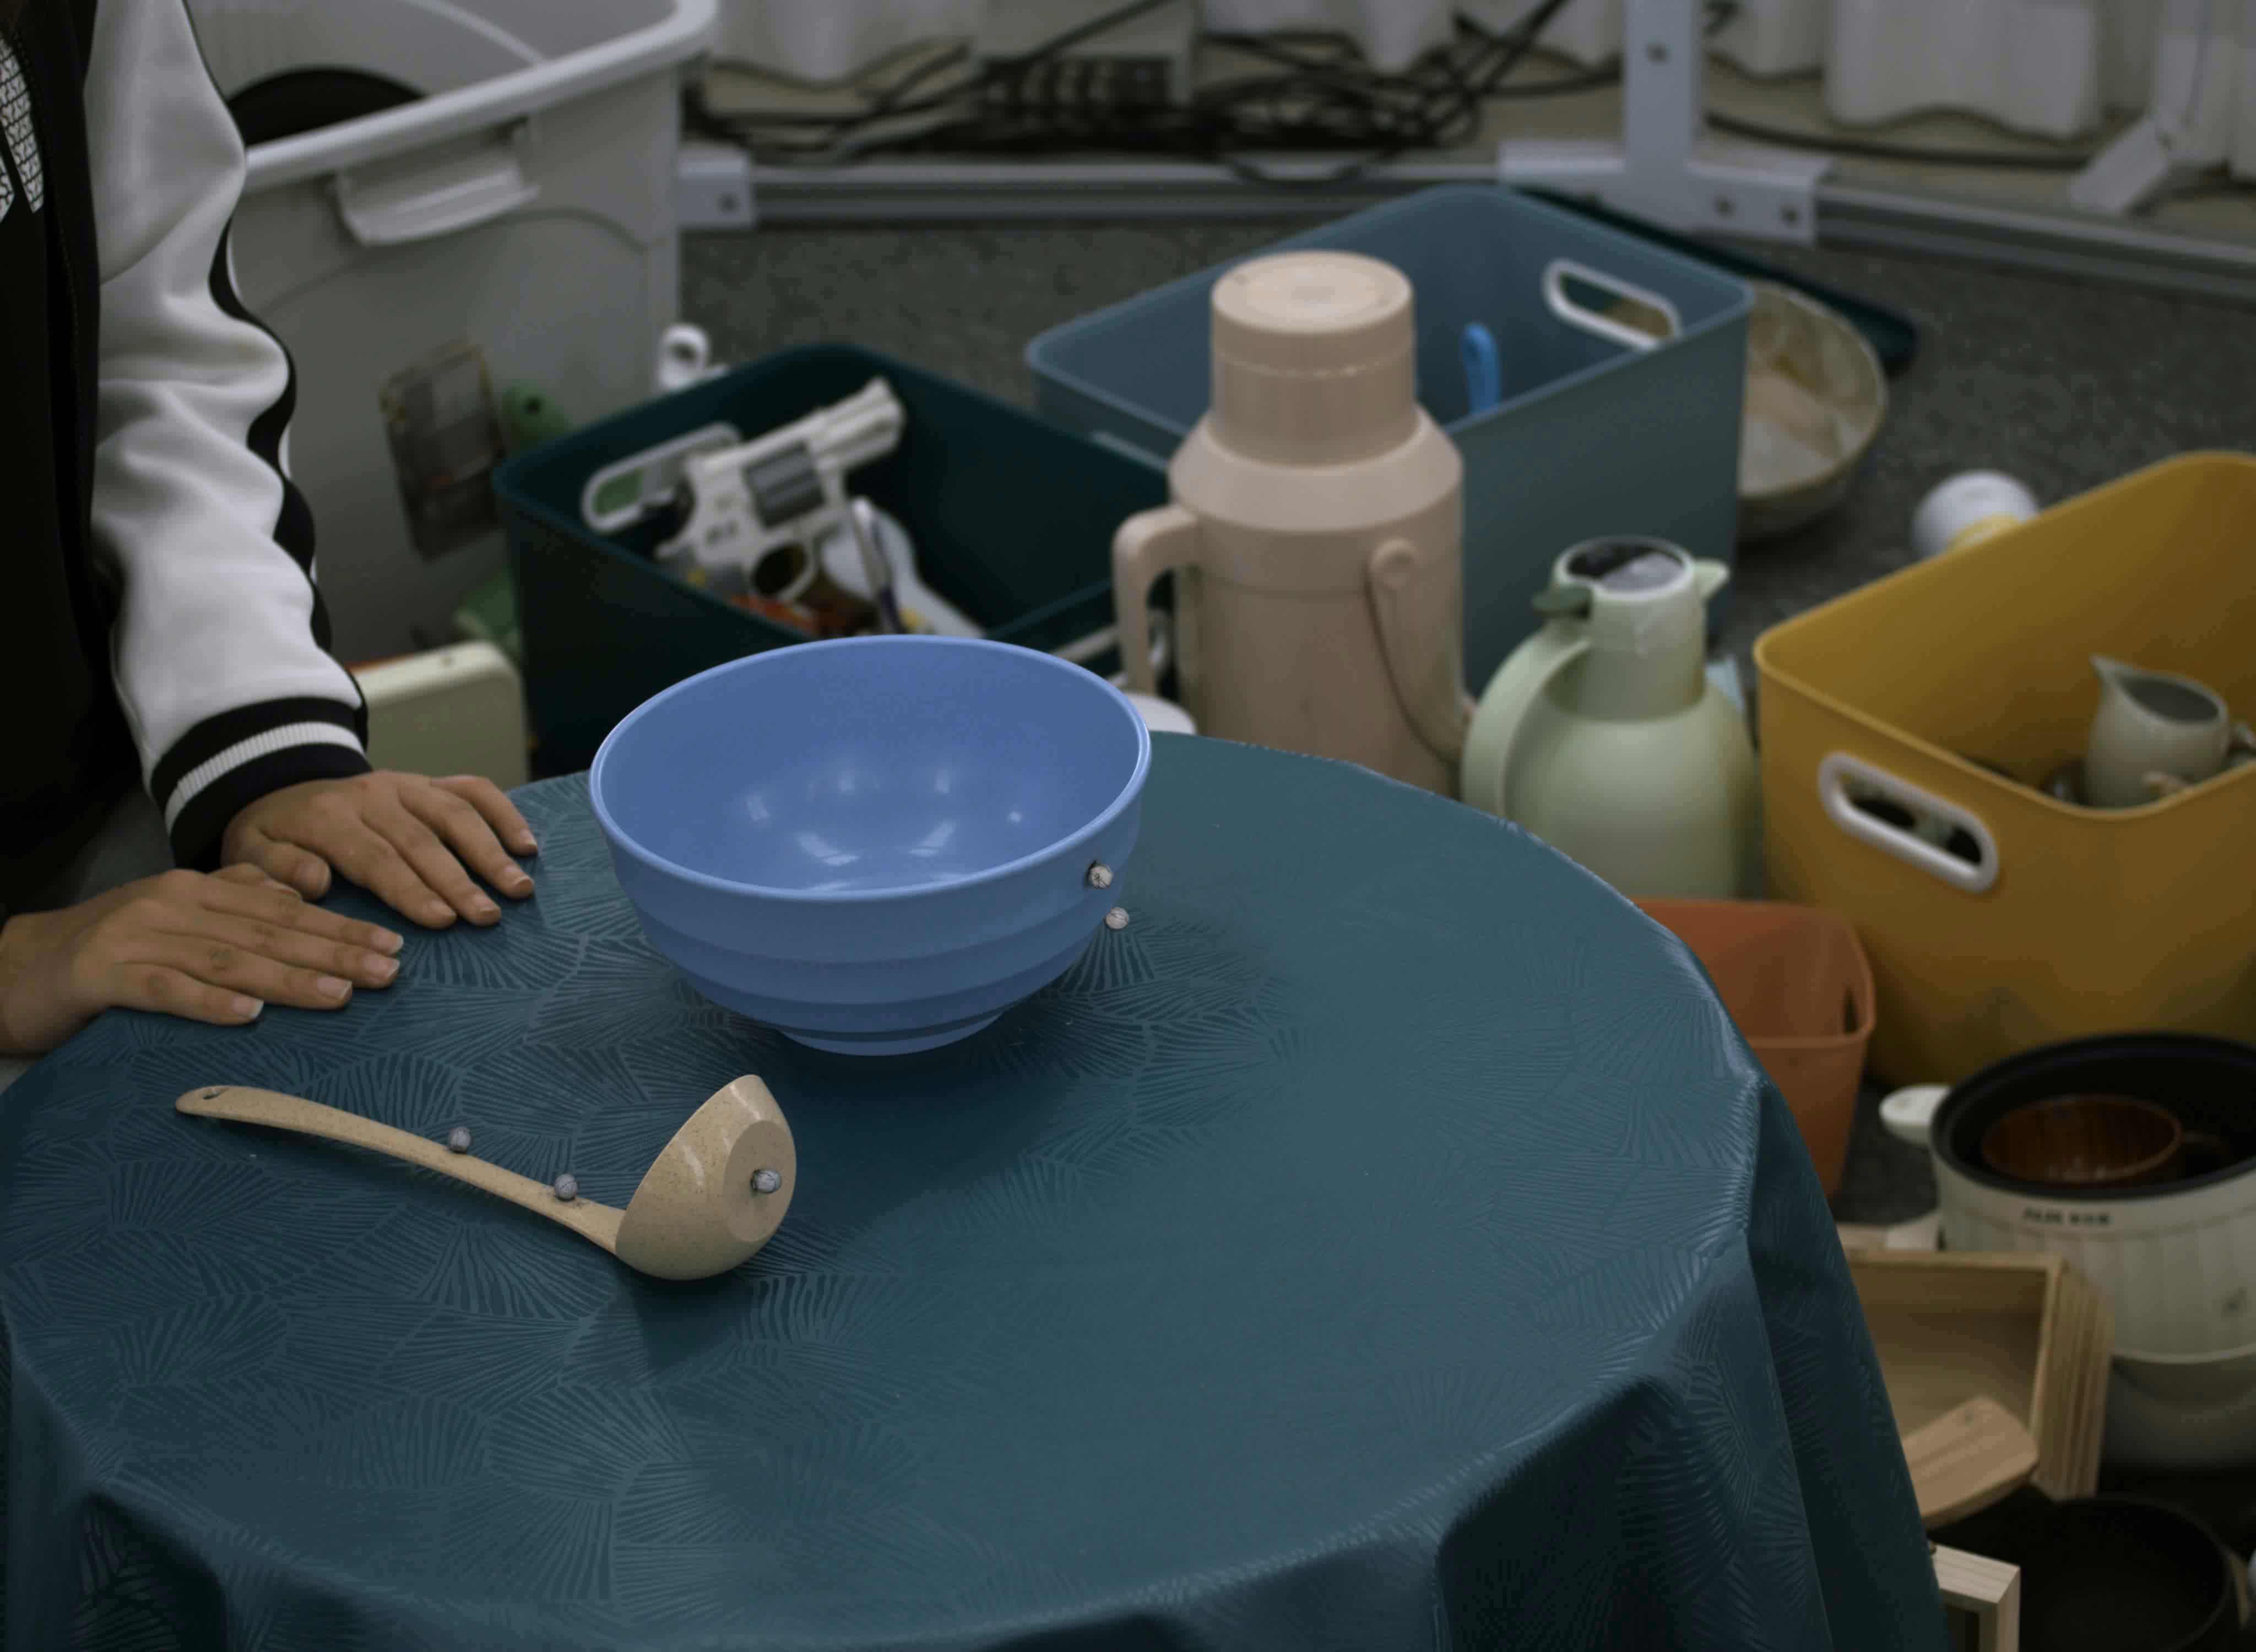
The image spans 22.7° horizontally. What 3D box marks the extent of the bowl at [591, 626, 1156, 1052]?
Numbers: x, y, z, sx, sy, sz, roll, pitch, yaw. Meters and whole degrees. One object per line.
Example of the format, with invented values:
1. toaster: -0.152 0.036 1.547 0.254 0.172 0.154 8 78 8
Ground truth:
1. bowl: -0.088 0.016 1.969 0.195 0.094 0.199 0 28 0

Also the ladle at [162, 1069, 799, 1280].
1. ladle: -0.224 0.092 1.862 0.253 0.072 0.073 13 29 28
